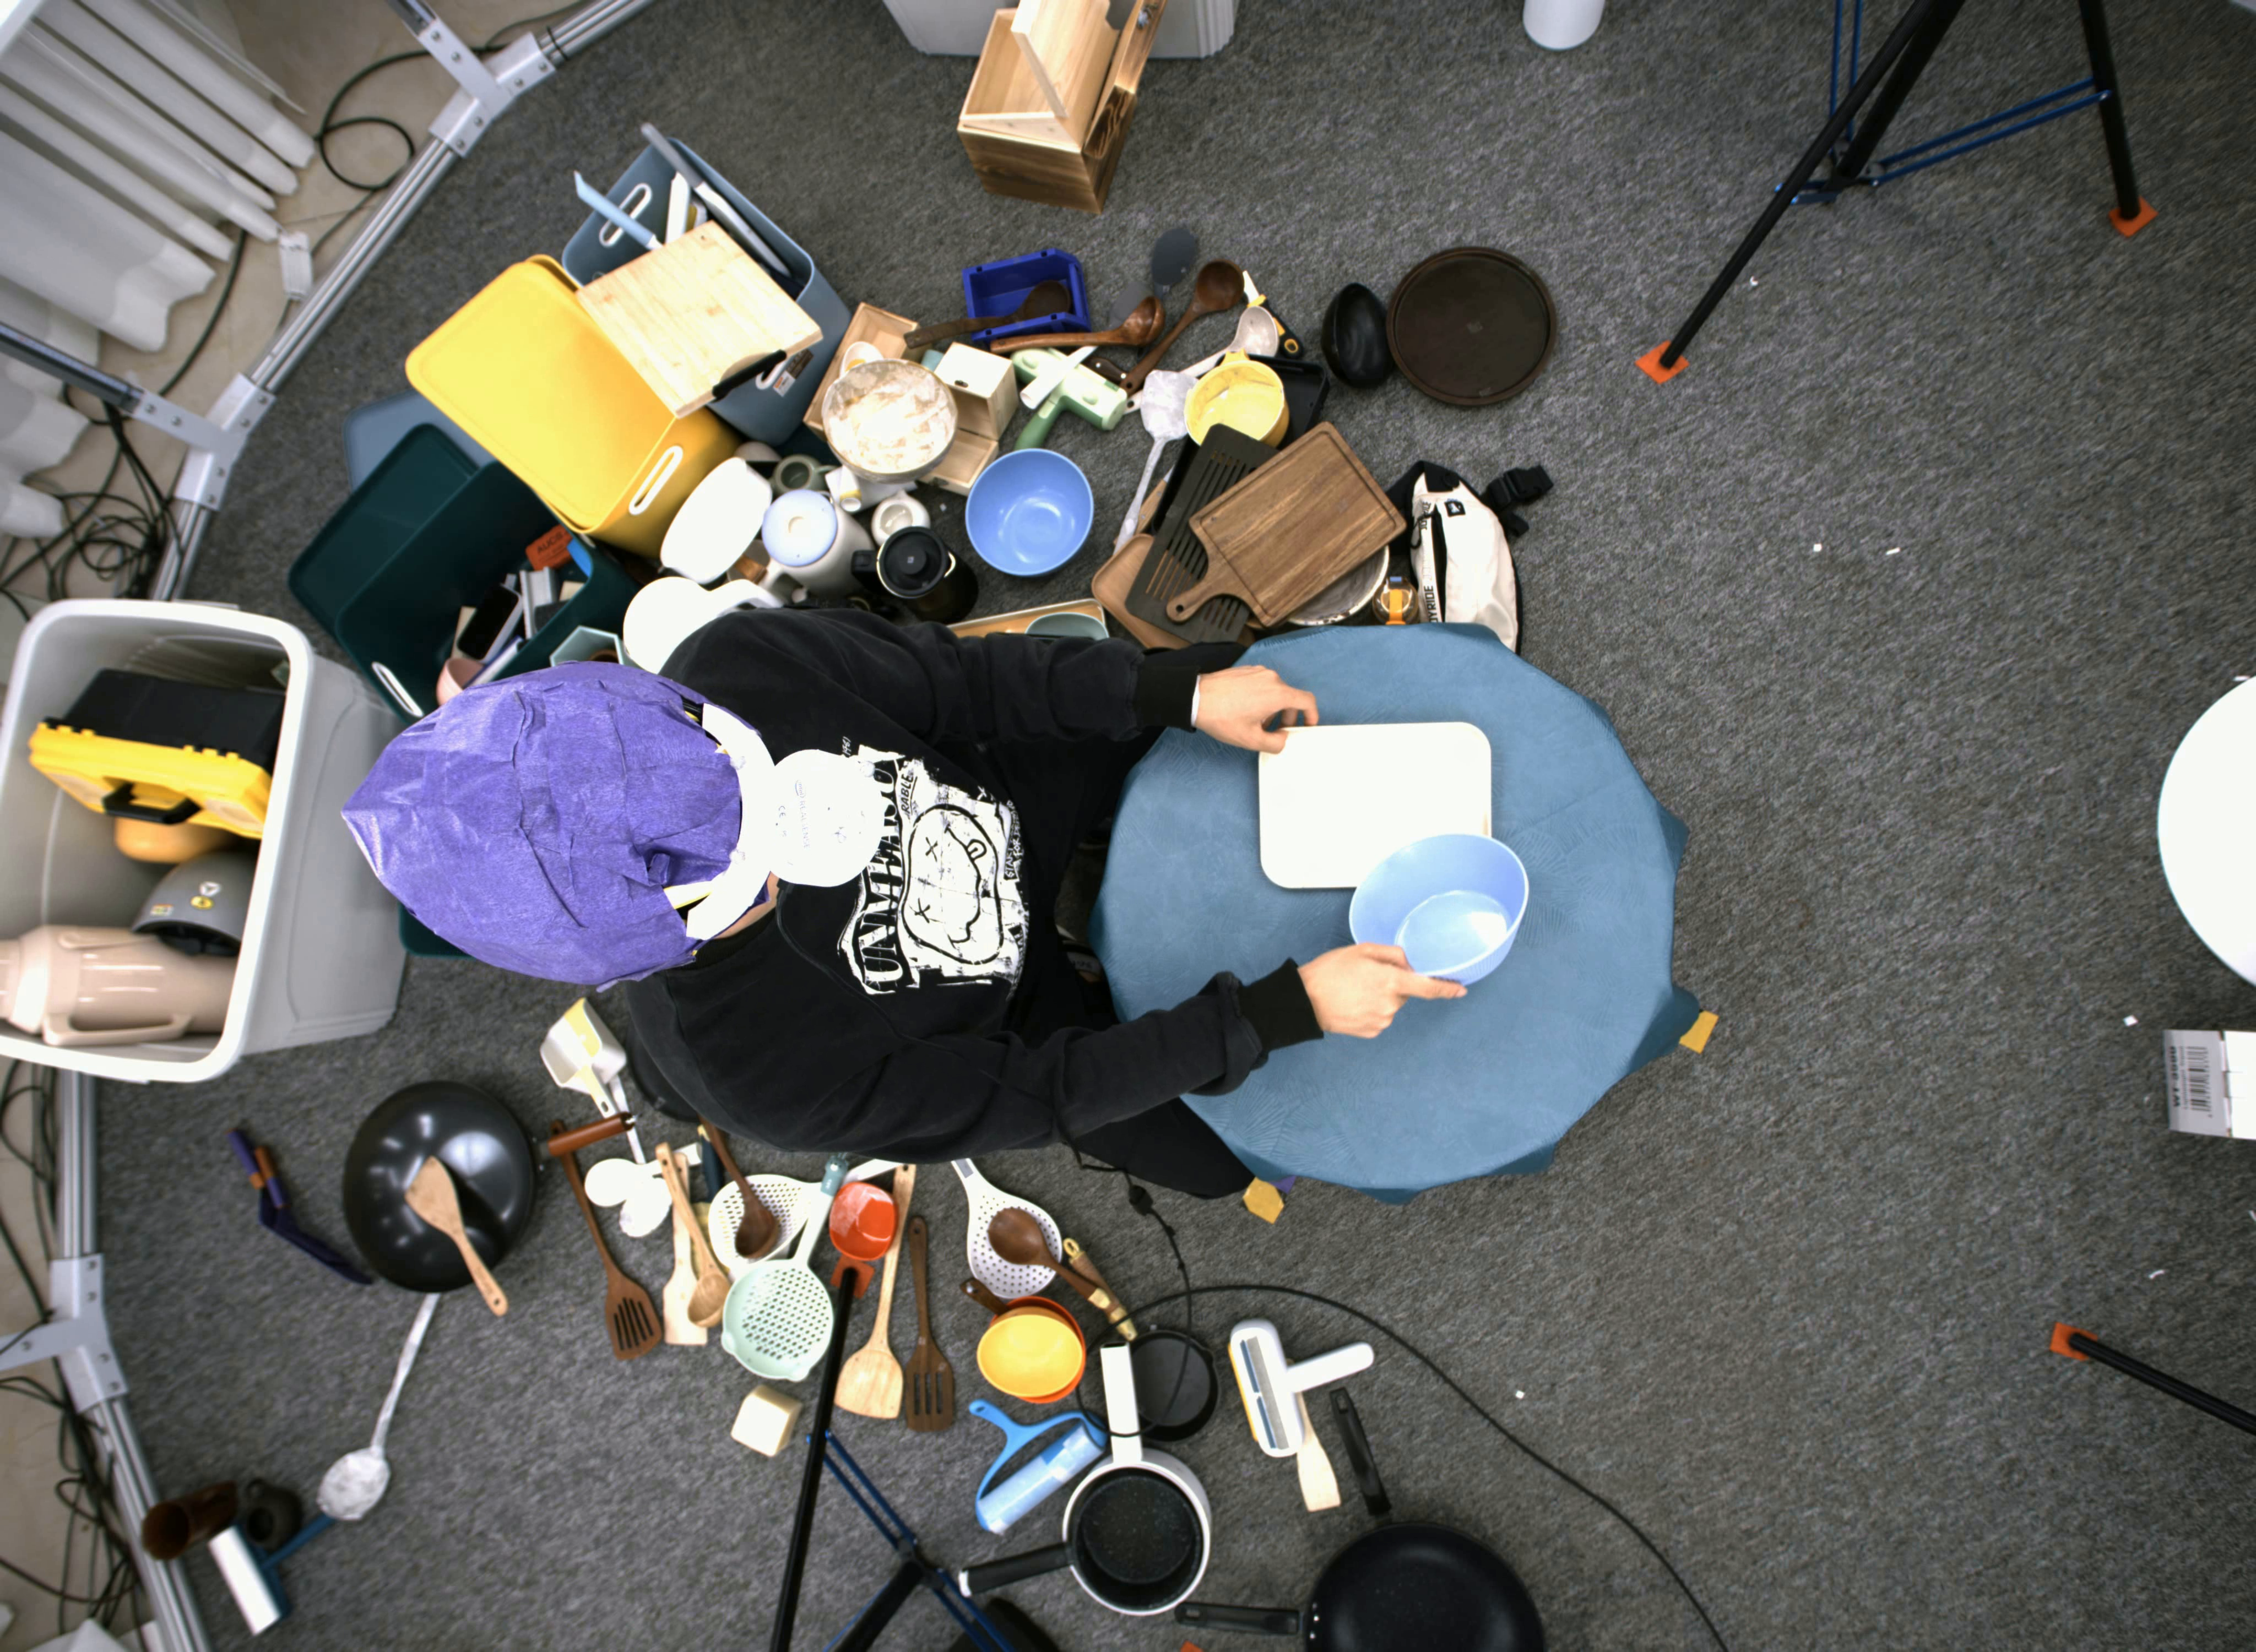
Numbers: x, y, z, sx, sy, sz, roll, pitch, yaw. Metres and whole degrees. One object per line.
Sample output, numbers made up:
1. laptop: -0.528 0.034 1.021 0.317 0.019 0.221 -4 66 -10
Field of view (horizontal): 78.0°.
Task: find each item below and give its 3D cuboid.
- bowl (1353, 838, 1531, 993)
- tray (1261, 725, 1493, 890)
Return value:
1. bowl: 0.314 0.096 1.355 0.178 0.071 0.171 -18 42 17
2. tray: 0.261 -0.020 1.448 0.240 0.017 0.172 -1 97 8
